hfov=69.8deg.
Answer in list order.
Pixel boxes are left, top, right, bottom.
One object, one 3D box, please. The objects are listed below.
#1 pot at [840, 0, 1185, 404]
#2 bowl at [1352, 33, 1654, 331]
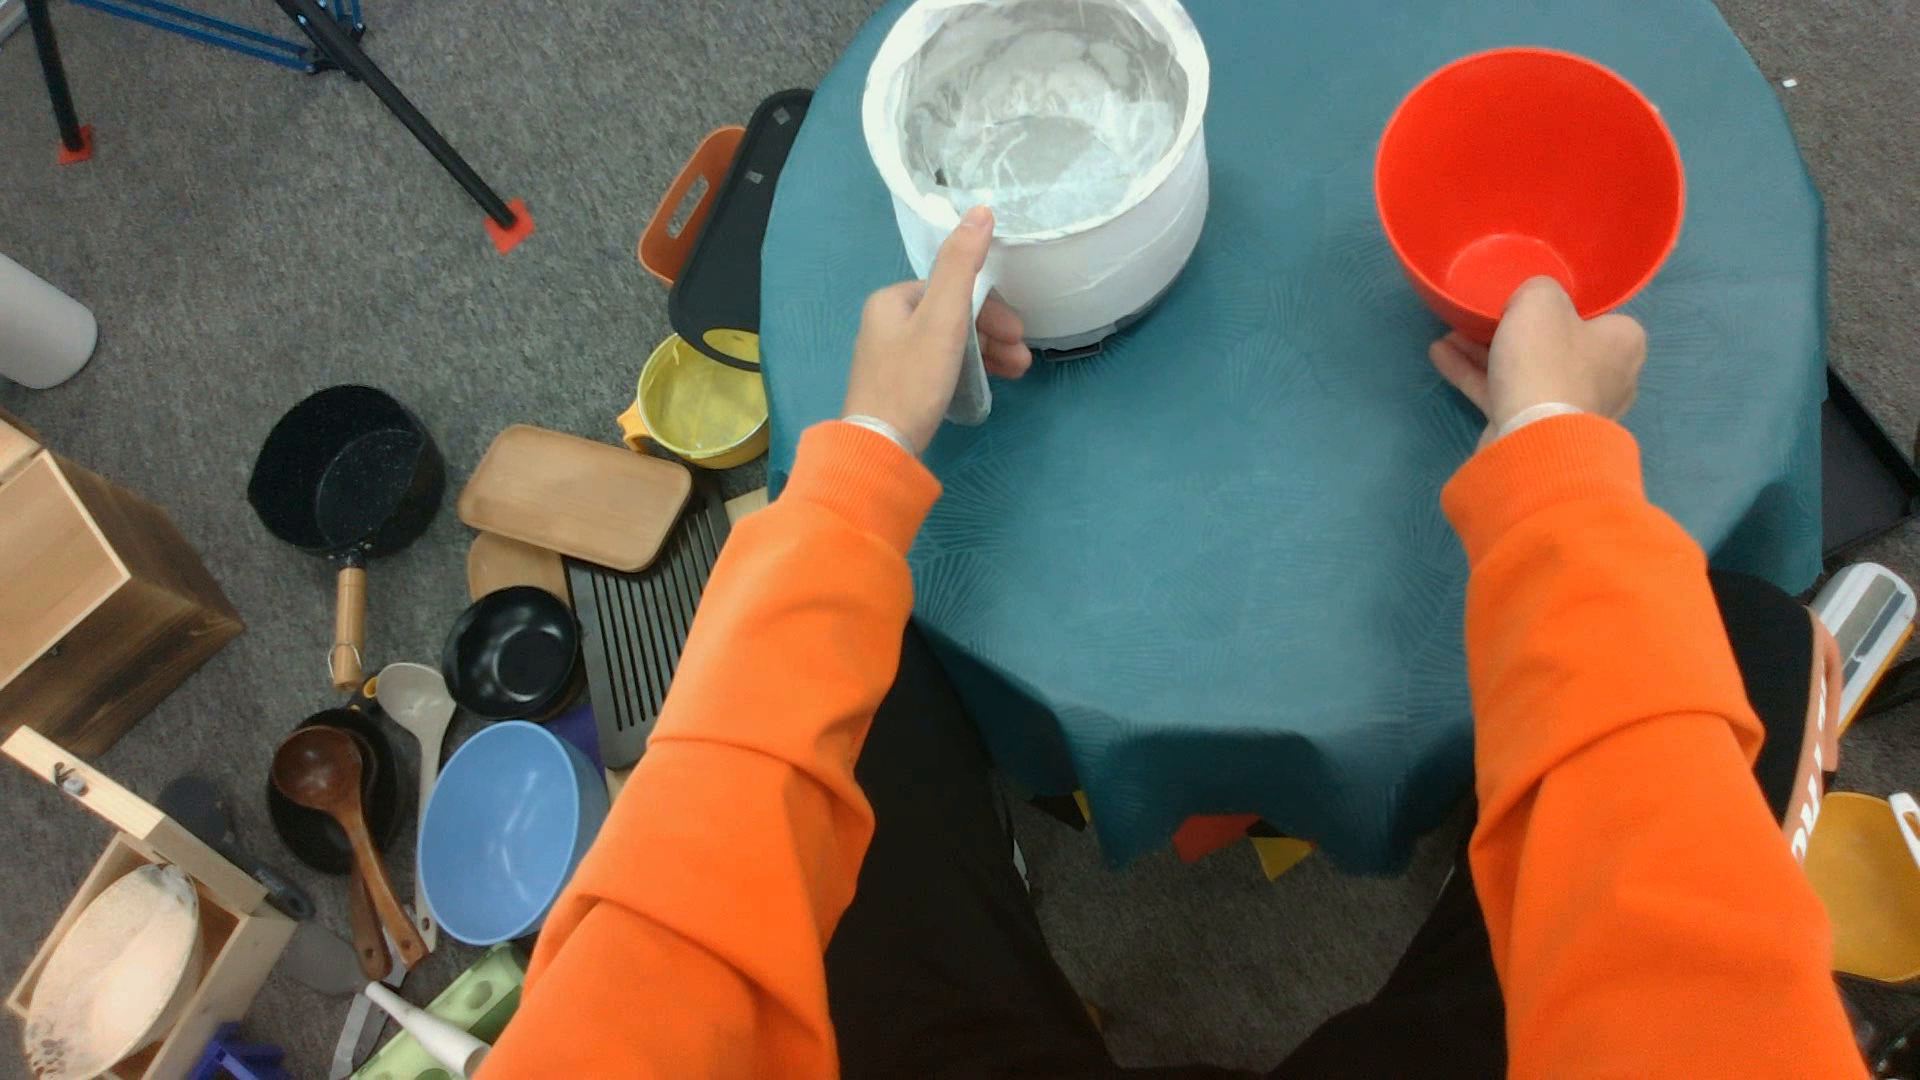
[{"bbox_3d":[0.024,-0.194,0.754,0.178,0.136,0.234,18,74,16],"label":"pot"},{"bbox_3d":[0.278,-0.174,0.728,0.148,0.104,0.148,-2,71,7],"label":"bowl"}]
